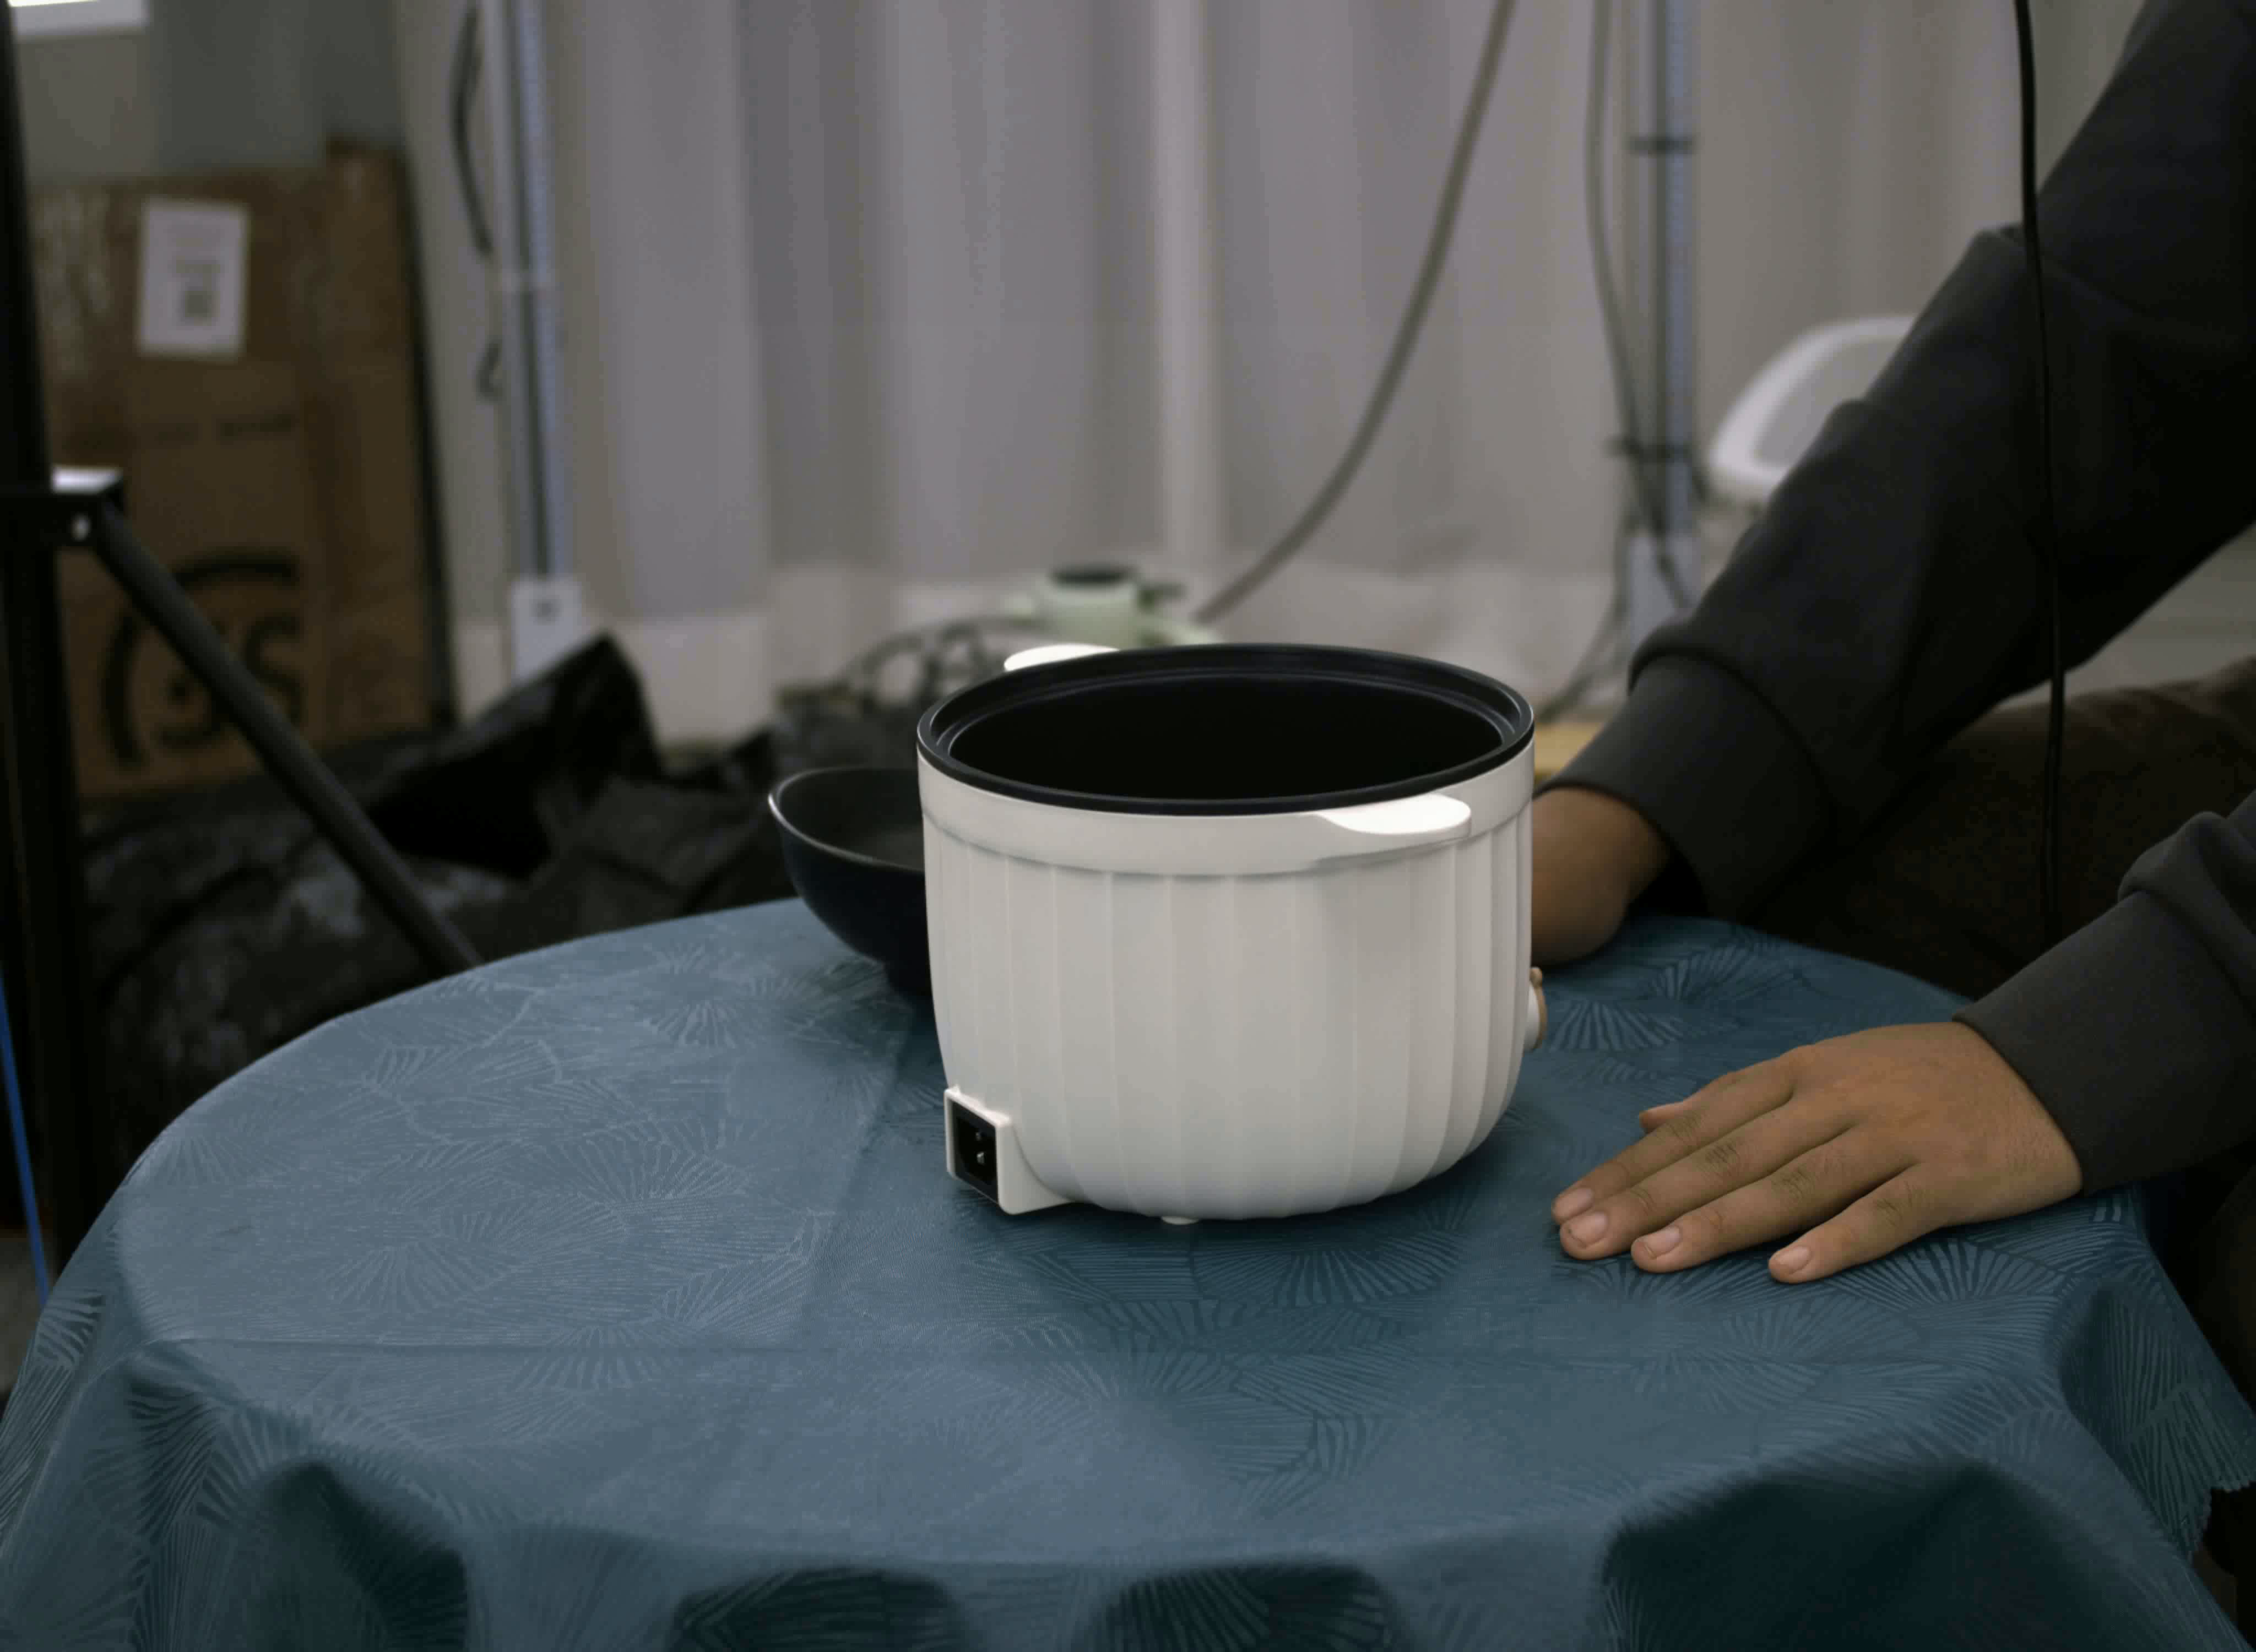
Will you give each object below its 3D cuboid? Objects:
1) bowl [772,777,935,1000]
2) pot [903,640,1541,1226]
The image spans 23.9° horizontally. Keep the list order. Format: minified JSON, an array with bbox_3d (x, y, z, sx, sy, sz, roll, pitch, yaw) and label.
[{"bbox_3d":[-0.049,0.019,1.760,0.136,0.067,0.172,-4,14,-9],"label":"bowl"},{"bbox_3d":[0.034,0.031,1.570,0.187,0.142,0.245,-13,20,-25],"label":"pot"}]
